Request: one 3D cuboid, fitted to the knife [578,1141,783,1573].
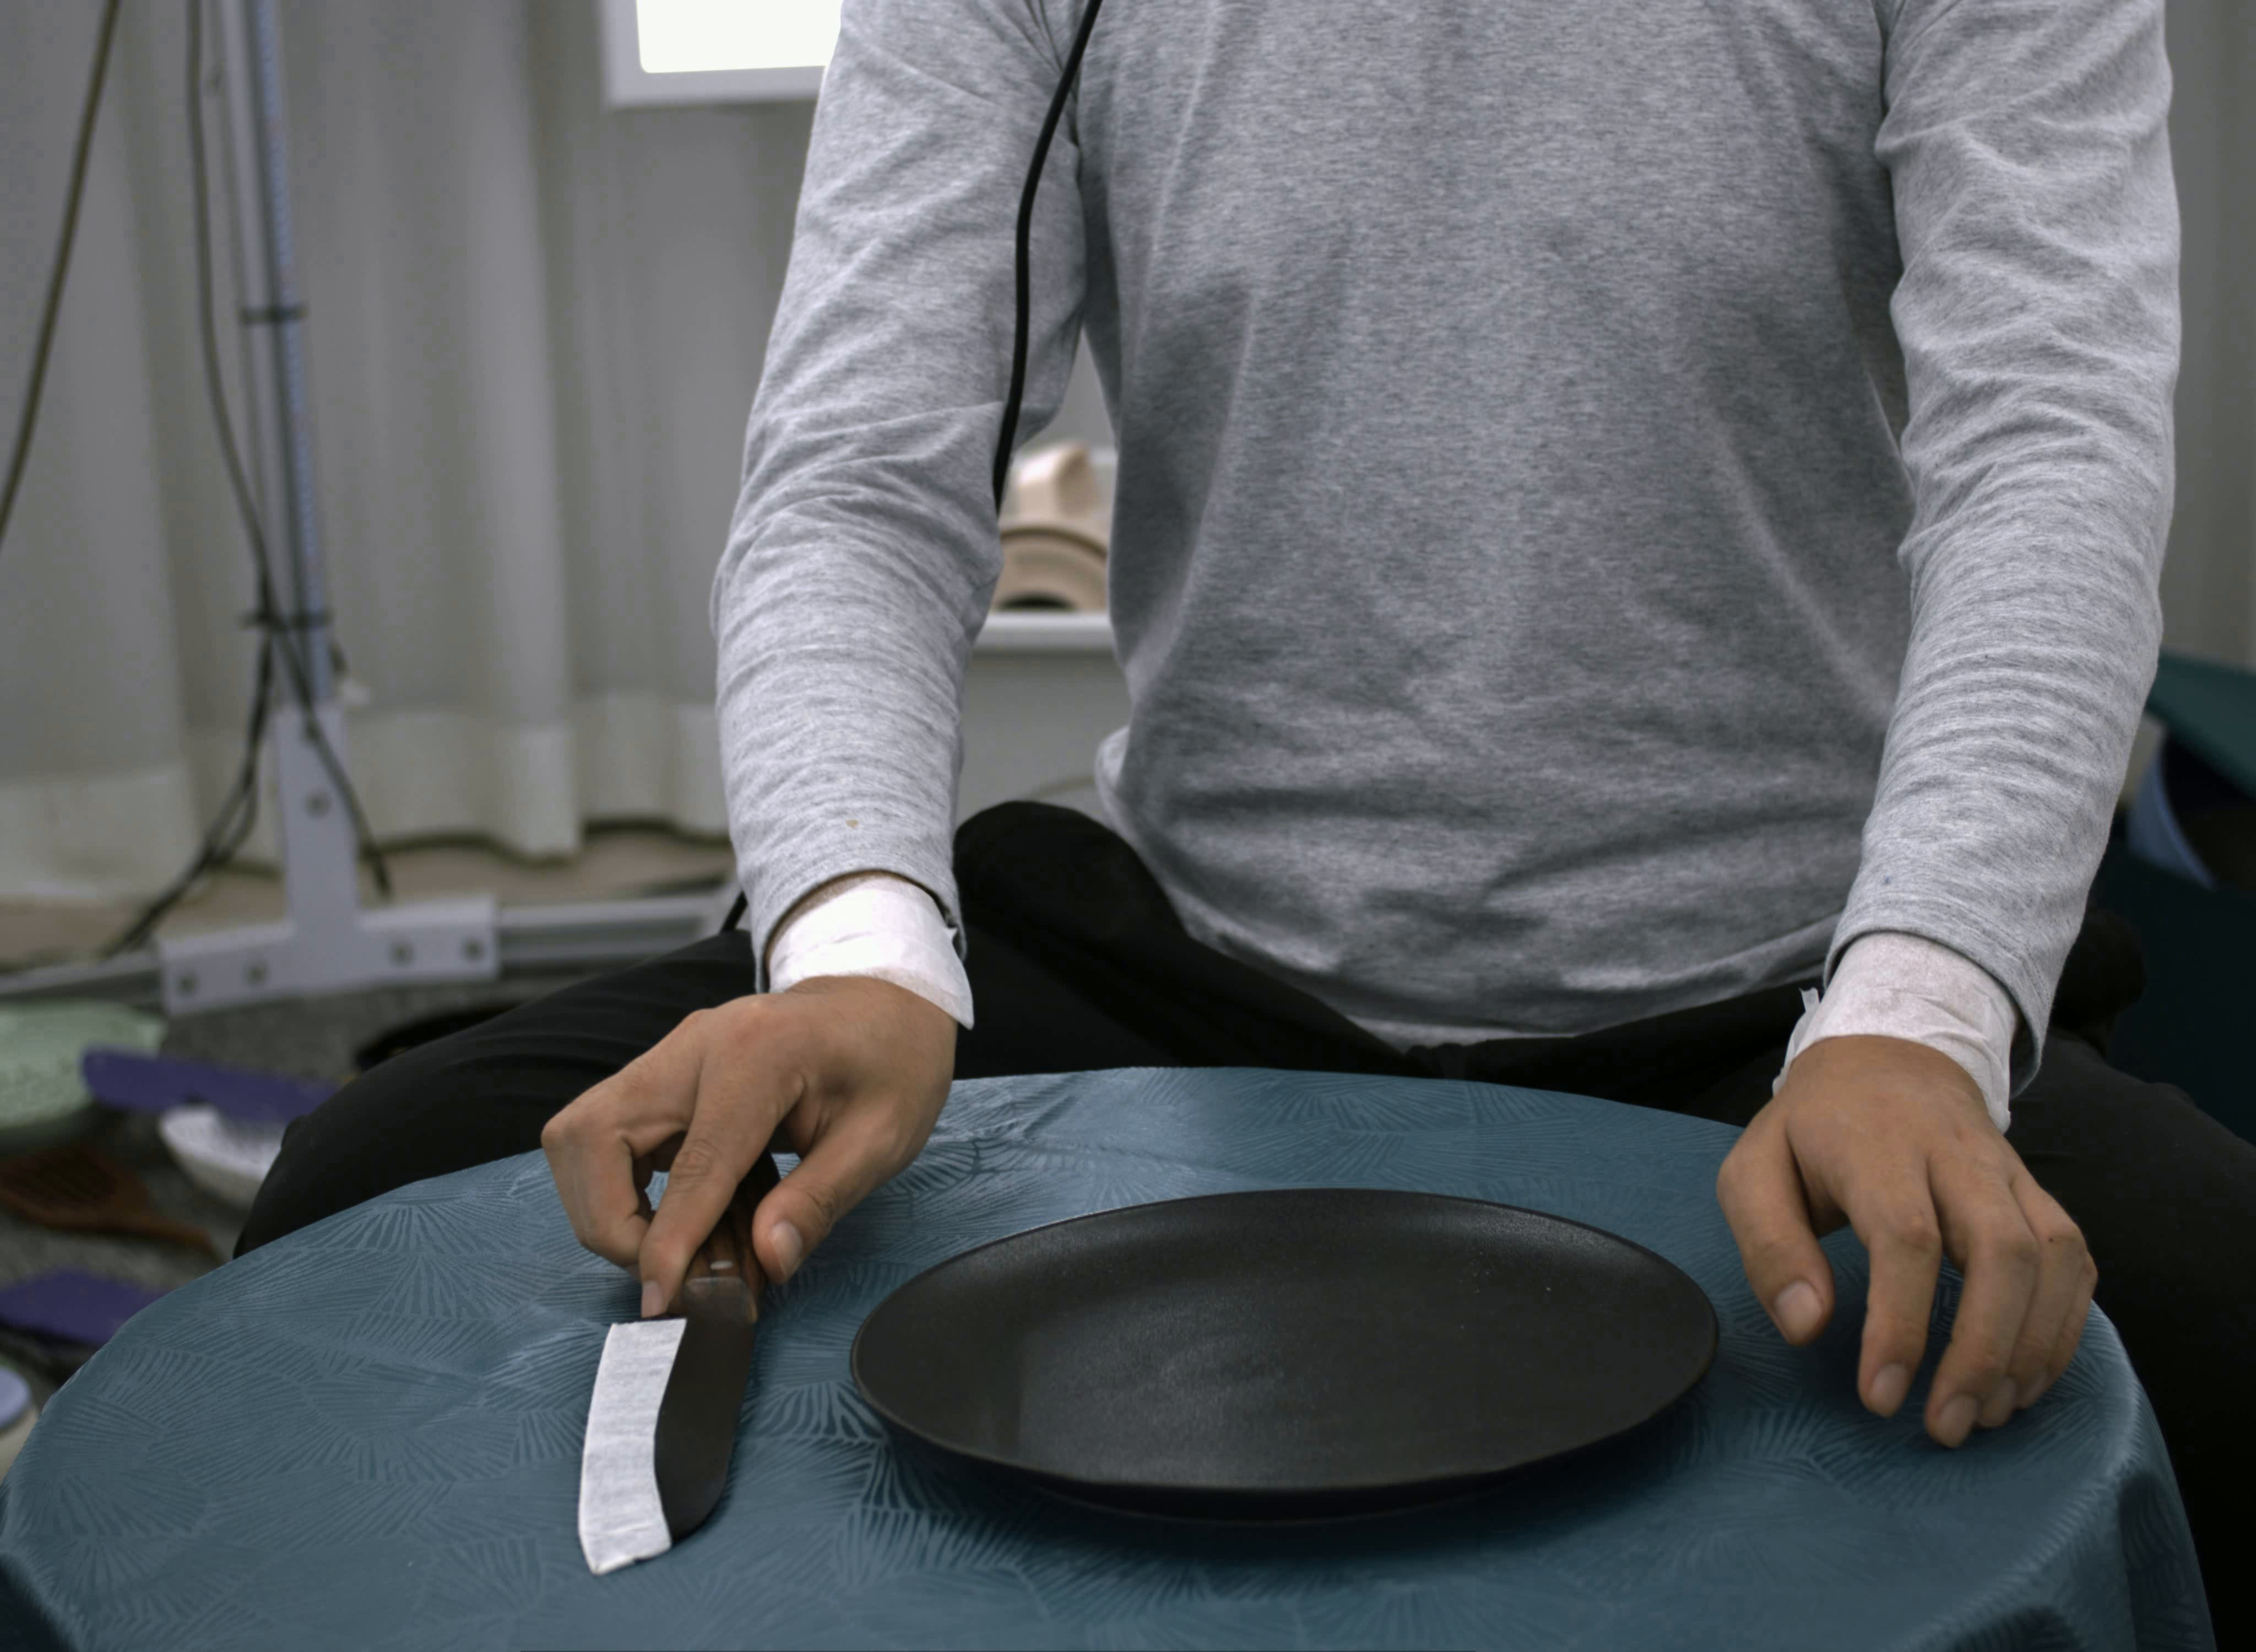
[{"bbox_3d":[-0.127,0.151,1.569,0.050,0.020,0.291,-6,18,5],"label":"knife"}]

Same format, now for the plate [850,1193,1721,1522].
[{"bbox_3d":[0.044,0.151,1.528,0.243,0.023,0.246,-3,15,0],"label":"plate"}]
